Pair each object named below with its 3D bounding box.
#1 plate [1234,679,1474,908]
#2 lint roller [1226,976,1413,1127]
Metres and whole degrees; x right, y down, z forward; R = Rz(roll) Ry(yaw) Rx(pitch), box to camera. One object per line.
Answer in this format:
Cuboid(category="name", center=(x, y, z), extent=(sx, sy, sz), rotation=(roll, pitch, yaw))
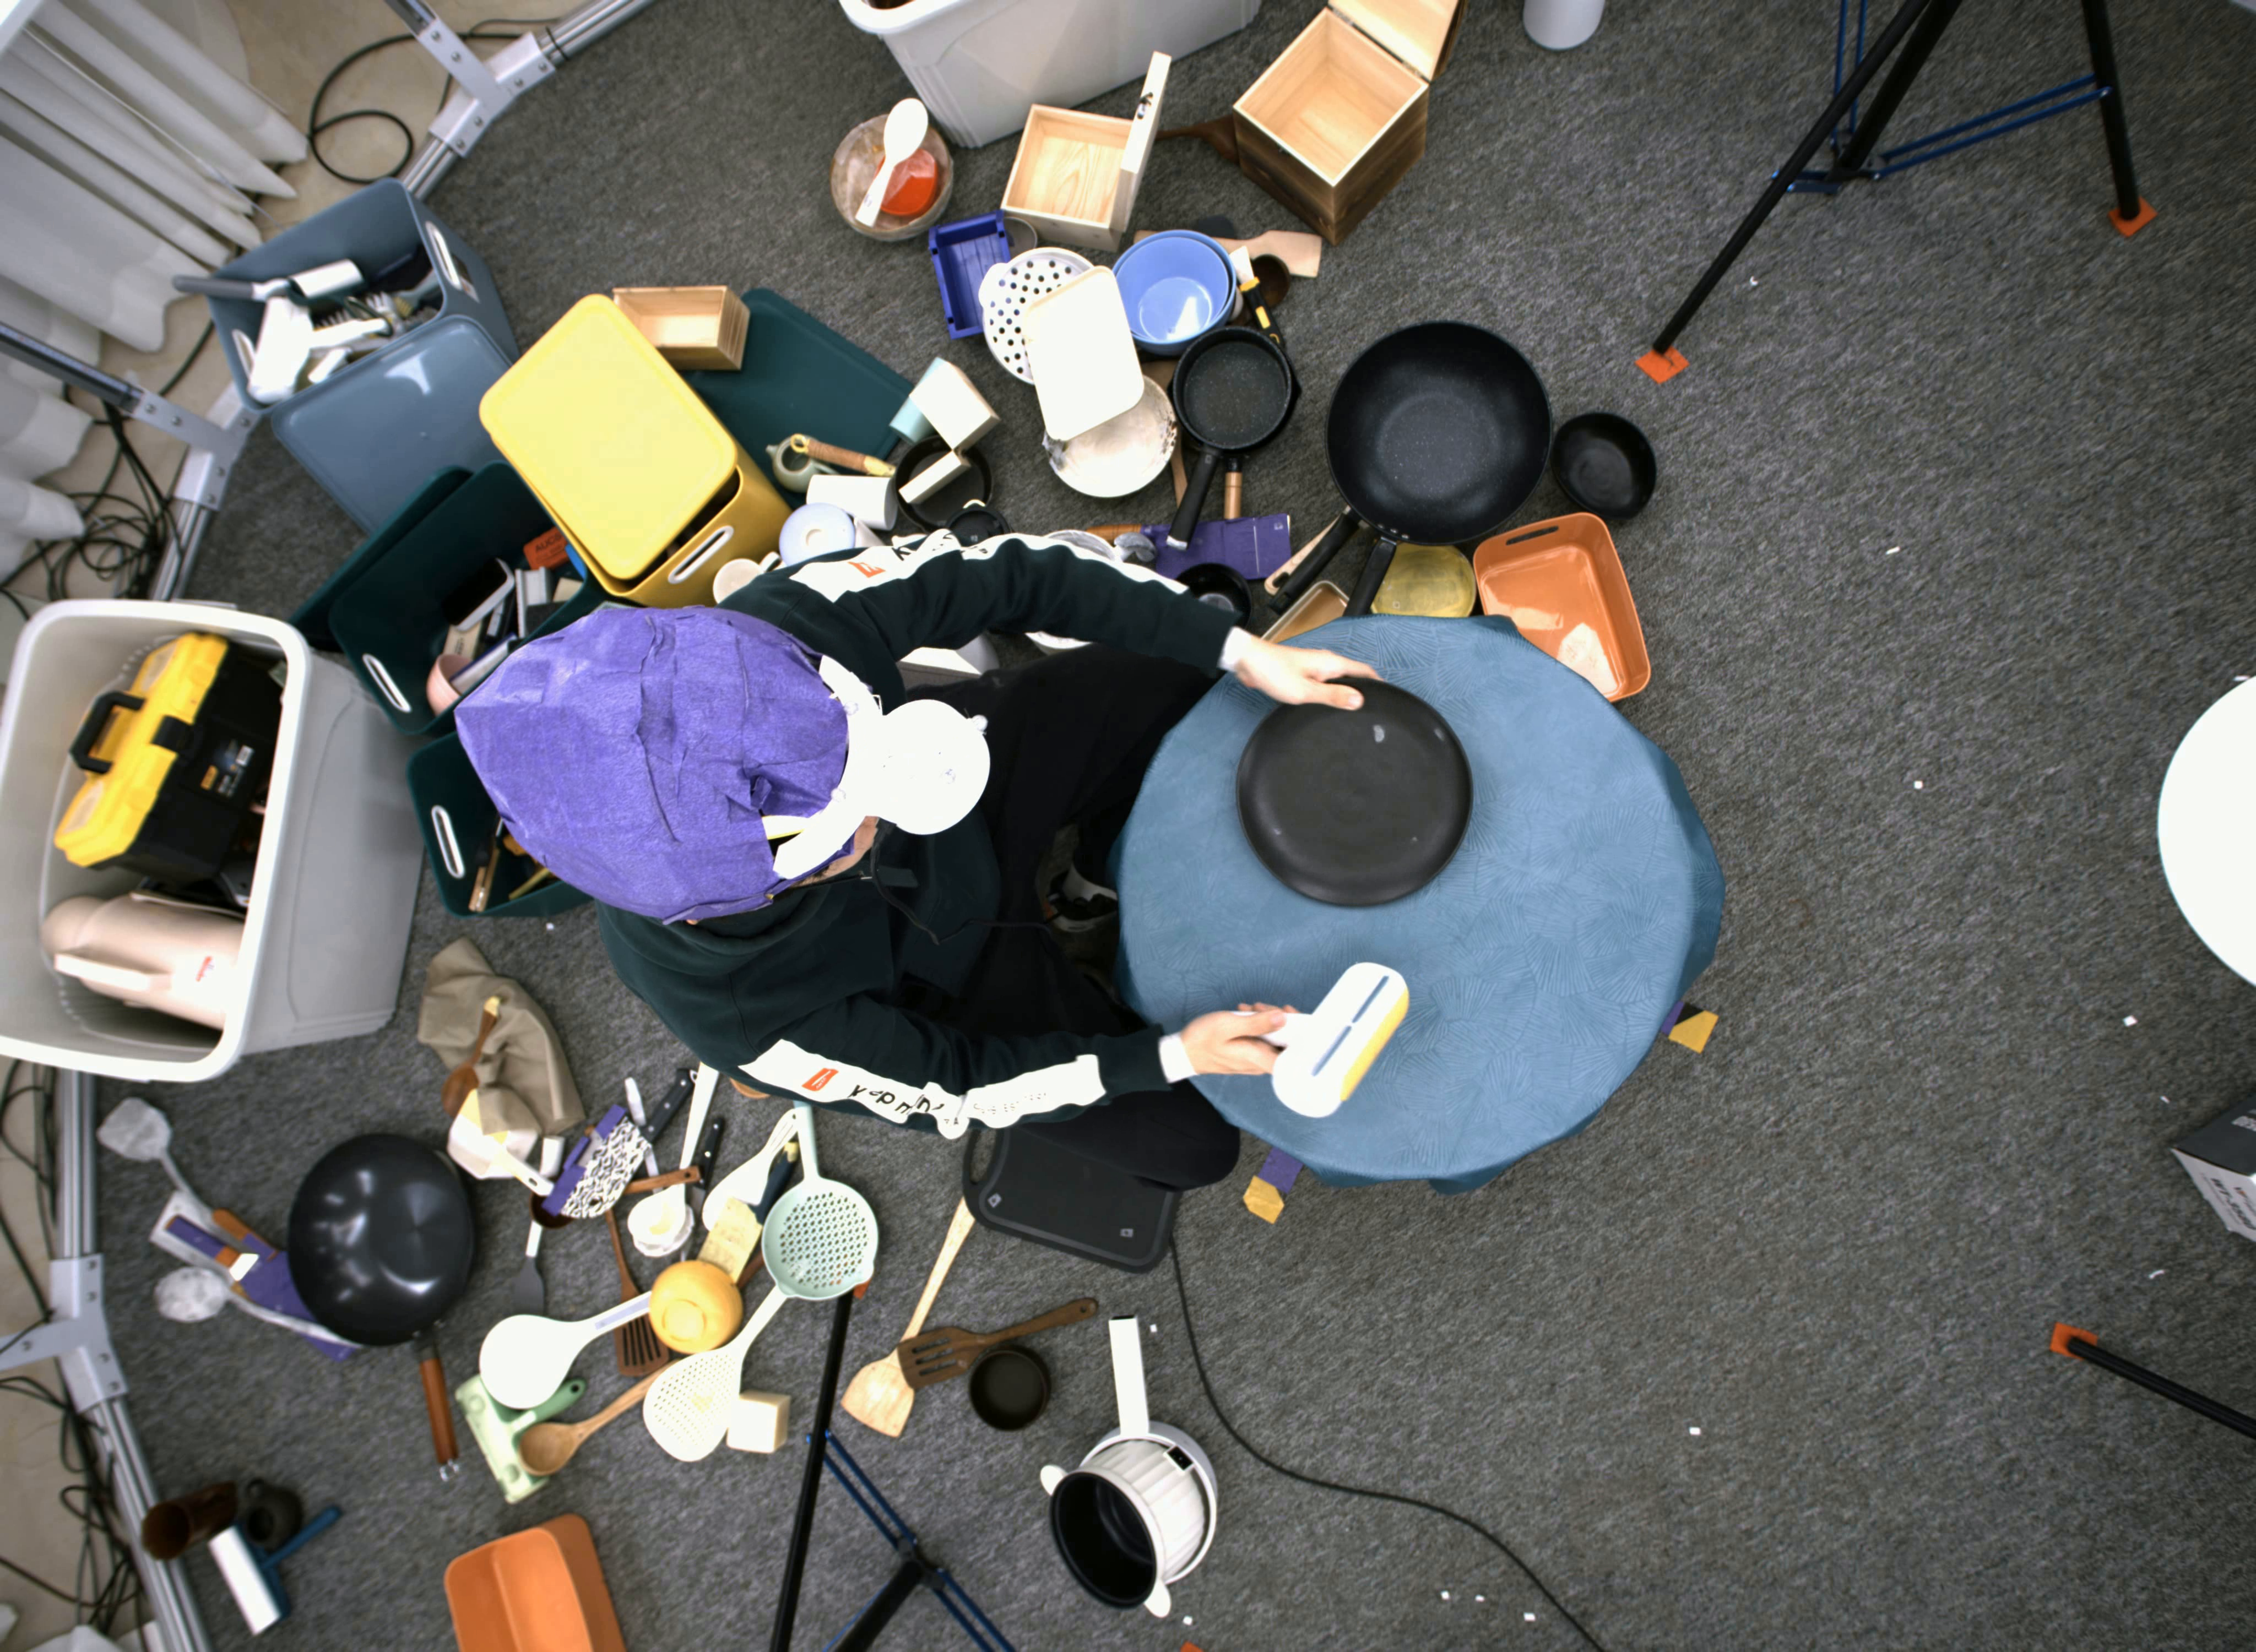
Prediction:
Cuboid(category="plate", center=(0.233, -0.034, 1.425), extent=(0.245, 0.023, 0.248), rotation=(3, 108, 11))
Cuboid(category="lint roller", center=(0.169, 0.217, 1.380), extent=(0.193, 0.189, 0.075), rotation=(4, 128, 46))
